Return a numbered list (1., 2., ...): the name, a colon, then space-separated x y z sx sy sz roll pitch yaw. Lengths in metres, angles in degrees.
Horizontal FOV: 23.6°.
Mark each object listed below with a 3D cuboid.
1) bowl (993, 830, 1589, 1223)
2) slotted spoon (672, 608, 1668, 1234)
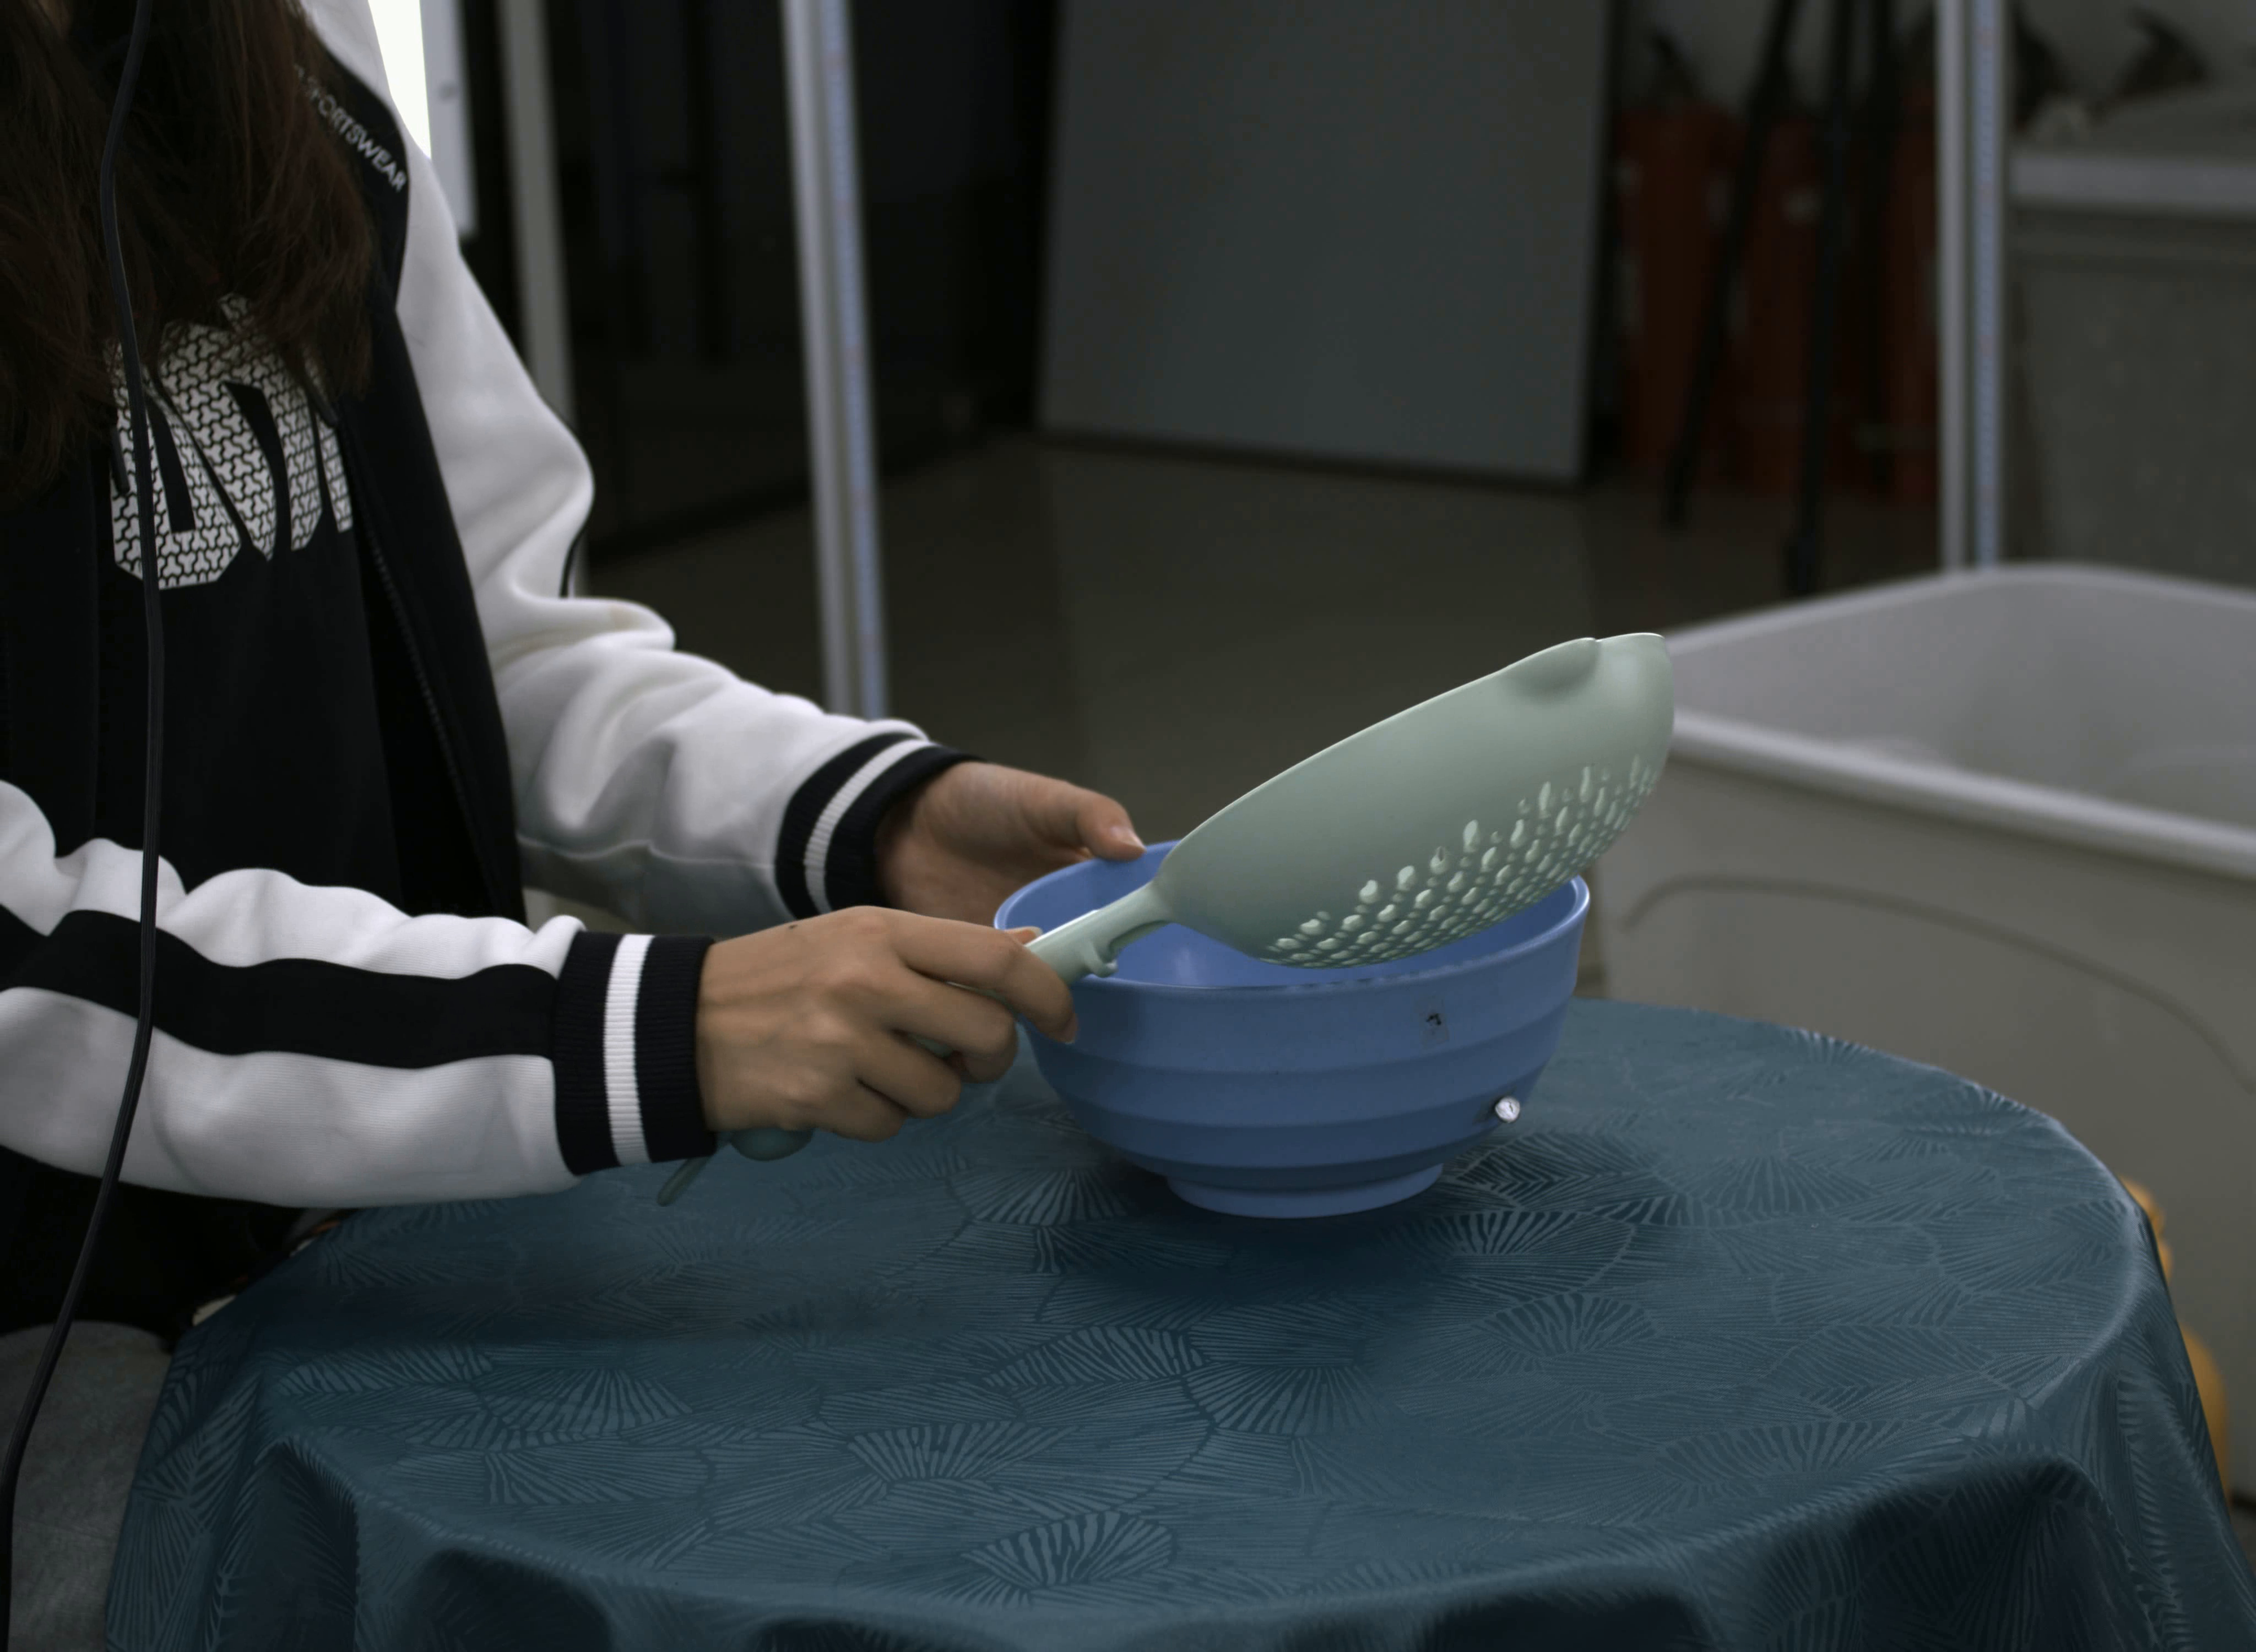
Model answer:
1. bowl: 0.056 0.070 1.762 0.194 0.096 0.197 -5 14 0
2. slotted spoon: 0.007 0.032 1.653 0.358 0.076 0.167 -21 -9 16
